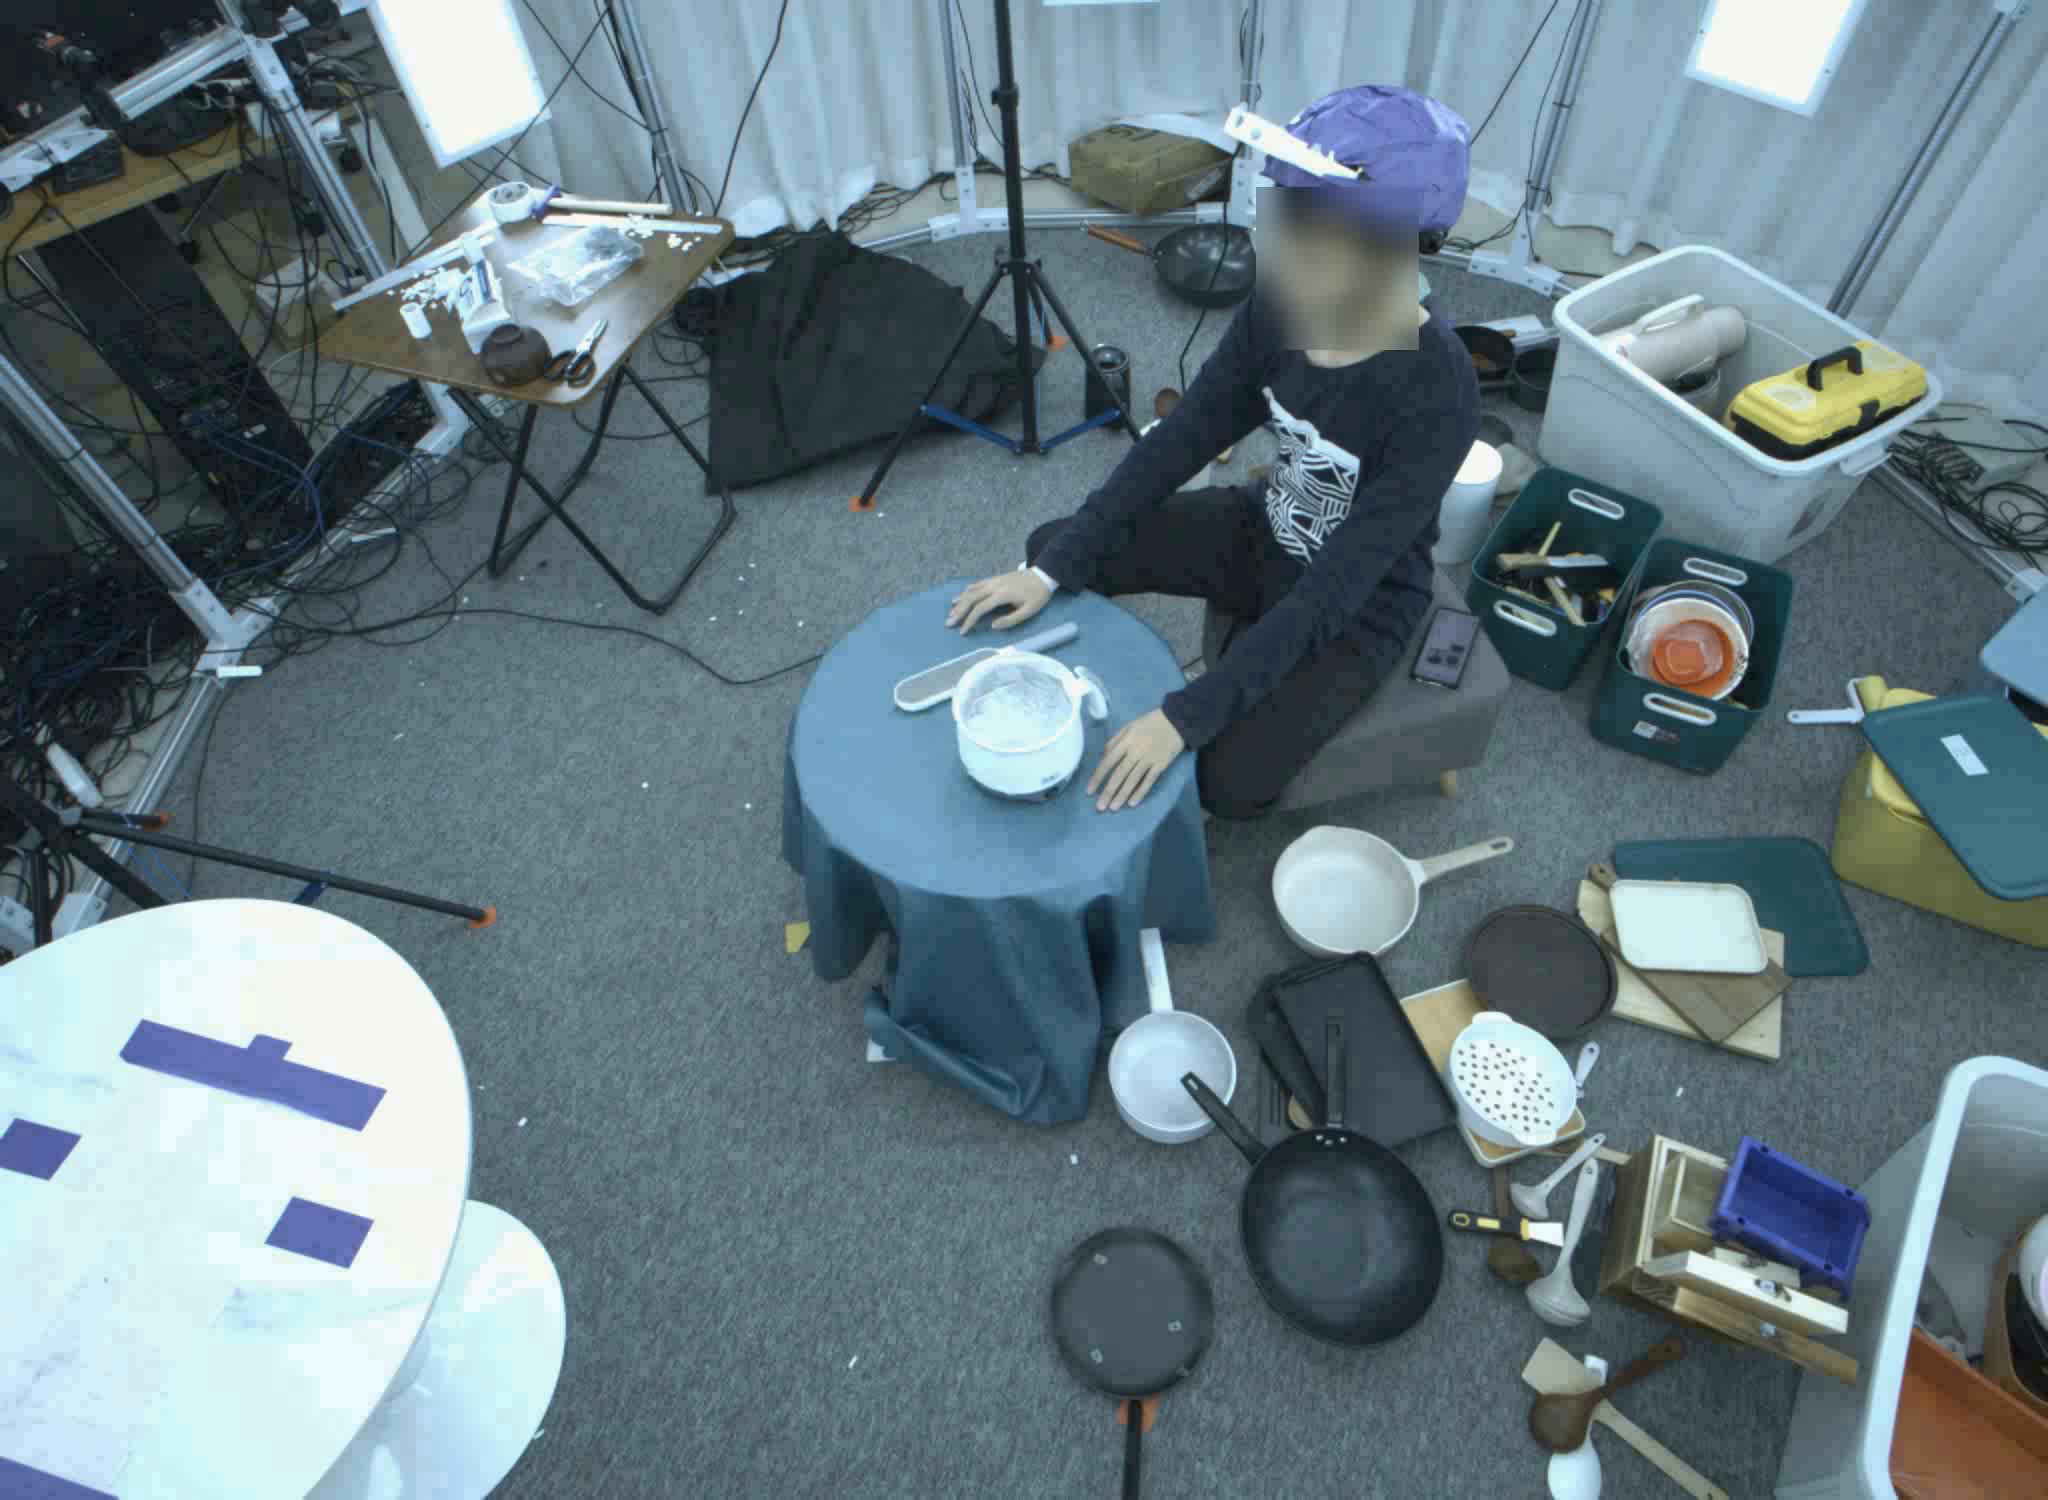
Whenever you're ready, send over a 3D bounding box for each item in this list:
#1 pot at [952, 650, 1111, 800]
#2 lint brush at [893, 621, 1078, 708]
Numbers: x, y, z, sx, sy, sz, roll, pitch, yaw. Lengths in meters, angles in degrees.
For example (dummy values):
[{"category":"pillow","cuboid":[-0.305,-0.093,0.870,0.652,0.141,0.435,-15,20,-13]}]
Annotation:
[{"category":"pot","cuboid":[0.017,-0.044,1.739,0.235,0.138,0.175,-27,60,-16]},{"category":"lint brush","cuboid":[-0.055,-0.134,1.875,0.311,0.021,0.059,-23,51,-15]}]
